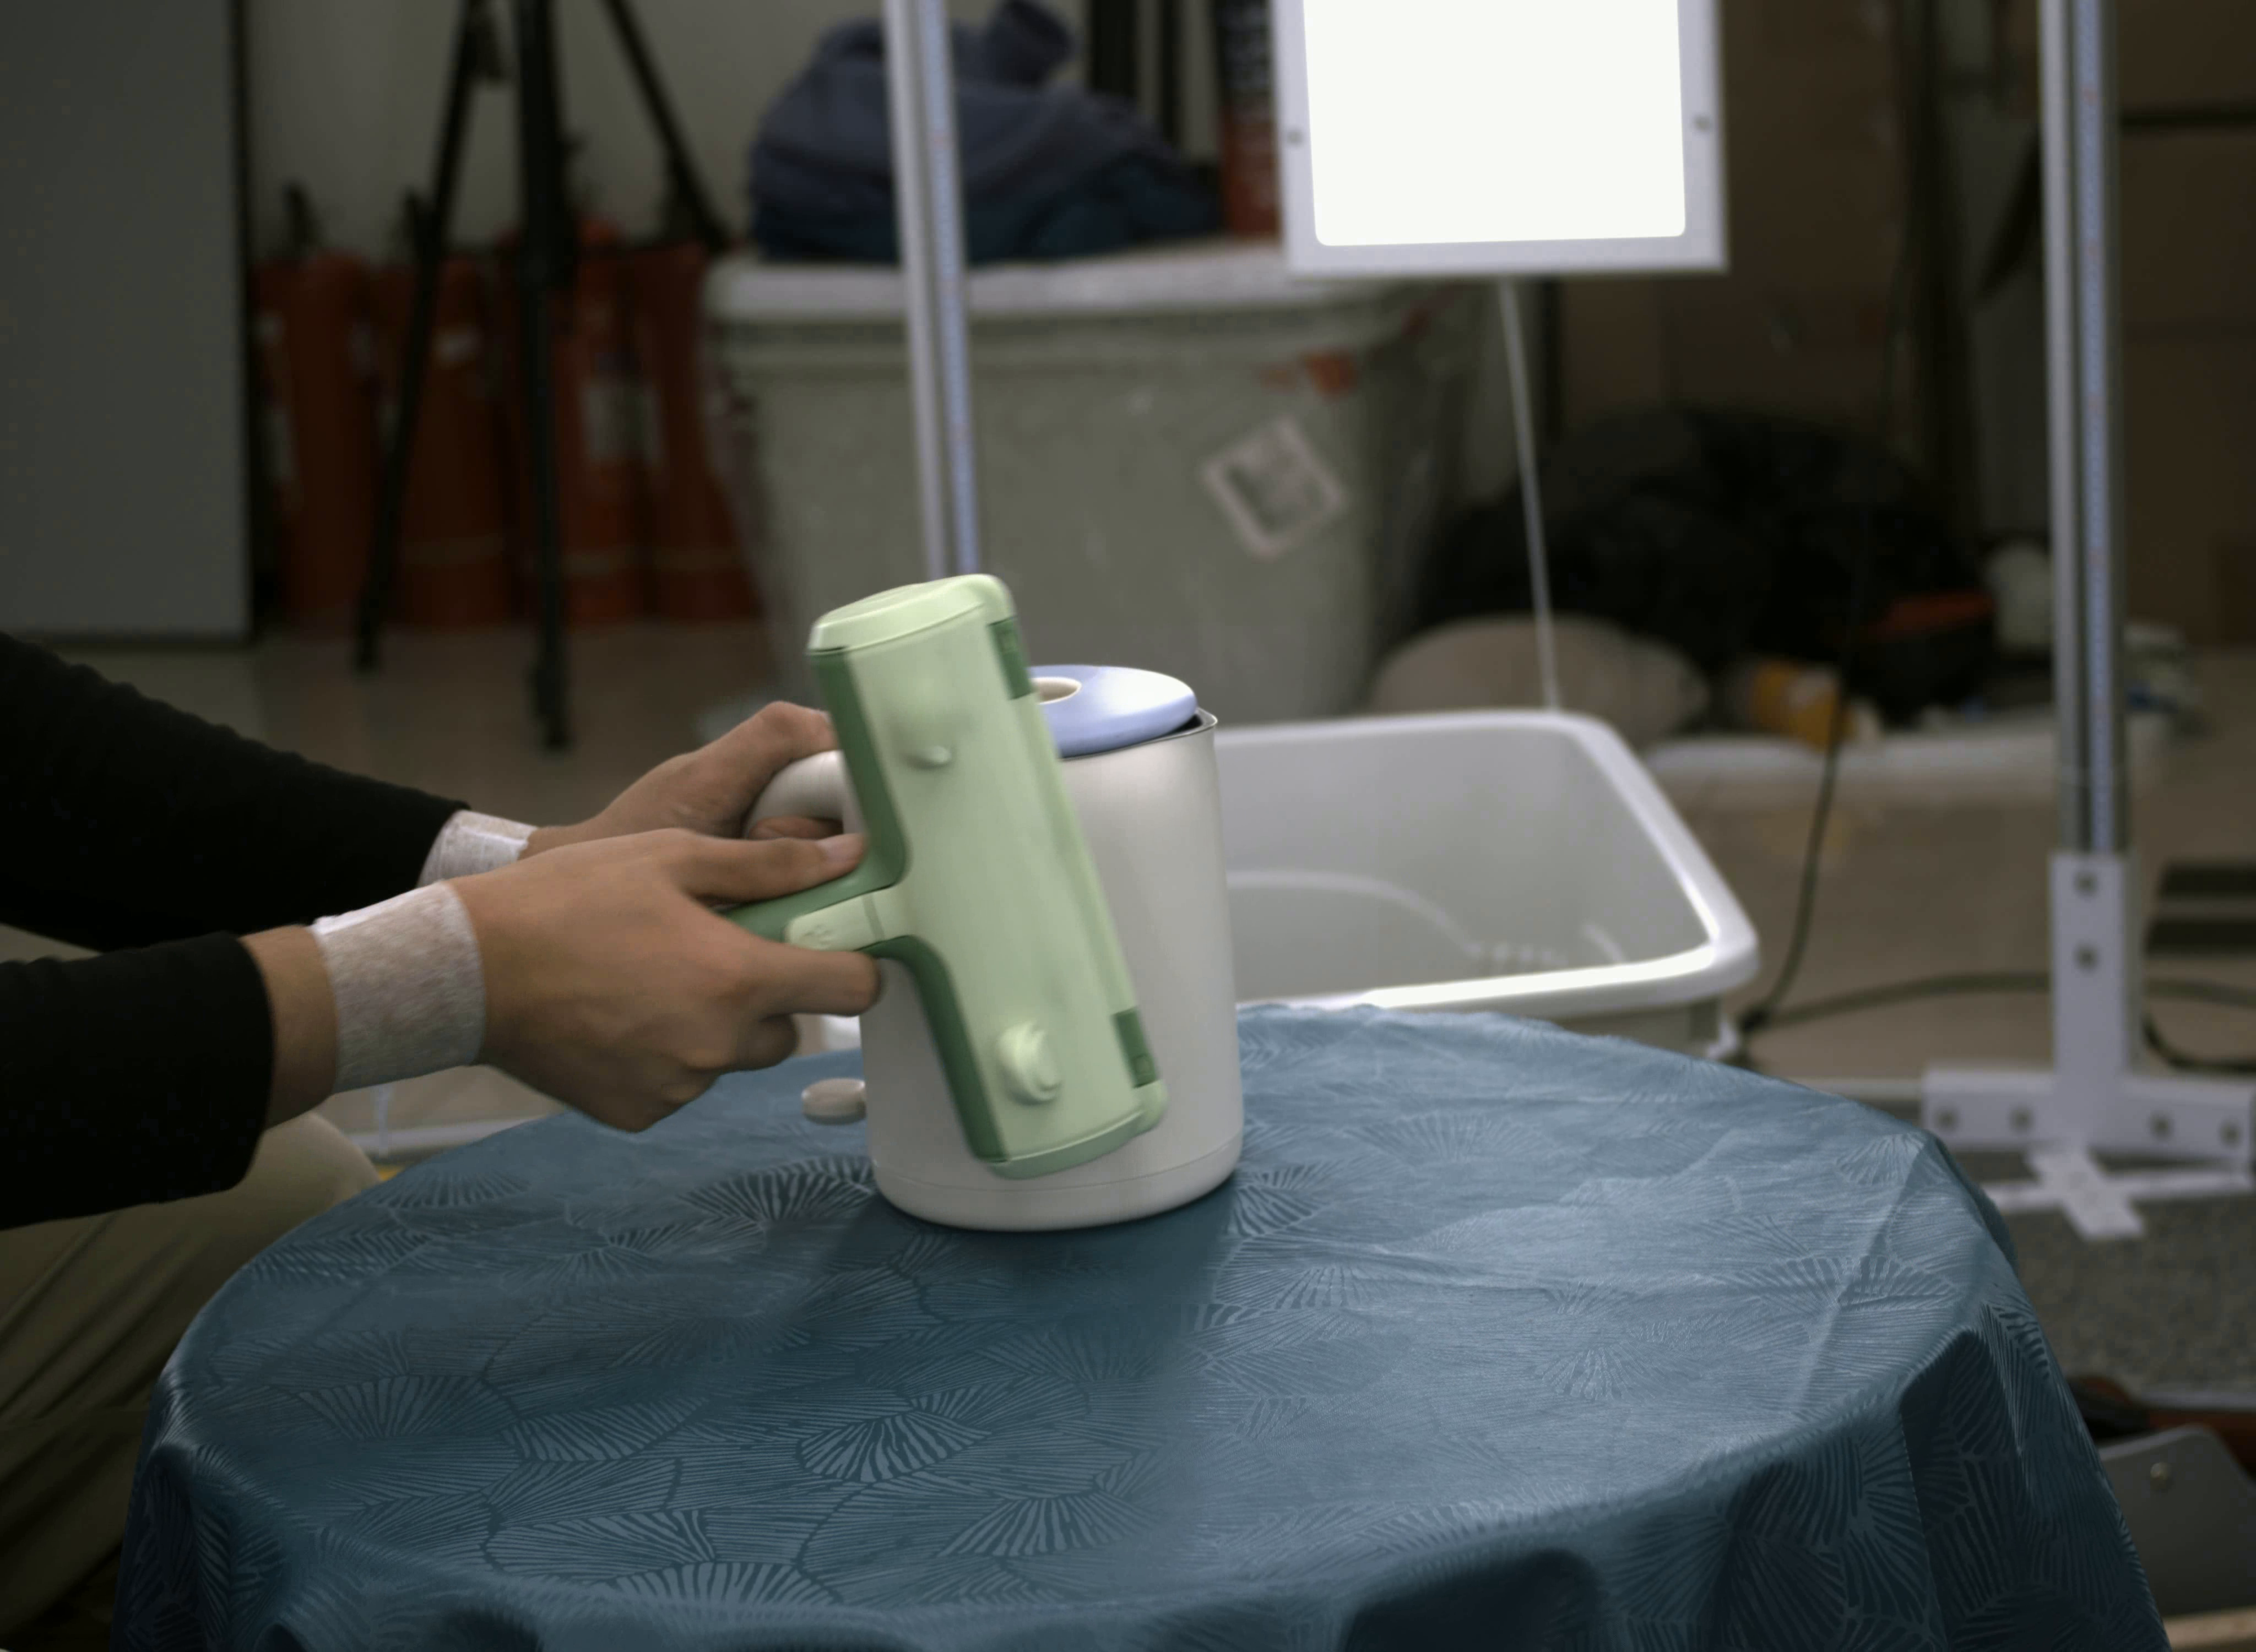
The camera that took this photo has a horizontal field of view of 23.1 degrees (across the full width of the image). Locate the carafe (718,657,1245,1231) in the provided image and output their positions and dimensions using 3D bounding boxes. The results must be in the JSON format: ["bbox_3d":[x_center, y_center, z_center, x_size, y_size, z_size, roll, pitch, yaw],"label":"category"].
[{"bbox_3d":[-0.053,0.040,1.906,0.194,0.183,0.130,-1,13,21],"label":"carafe"}]

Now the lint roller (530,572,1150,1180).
[{"bbox_3d":[-0.104,0.036,1.791,0.182,0.199,0.083,-19,9,-7],"label":"lint roller"}]
